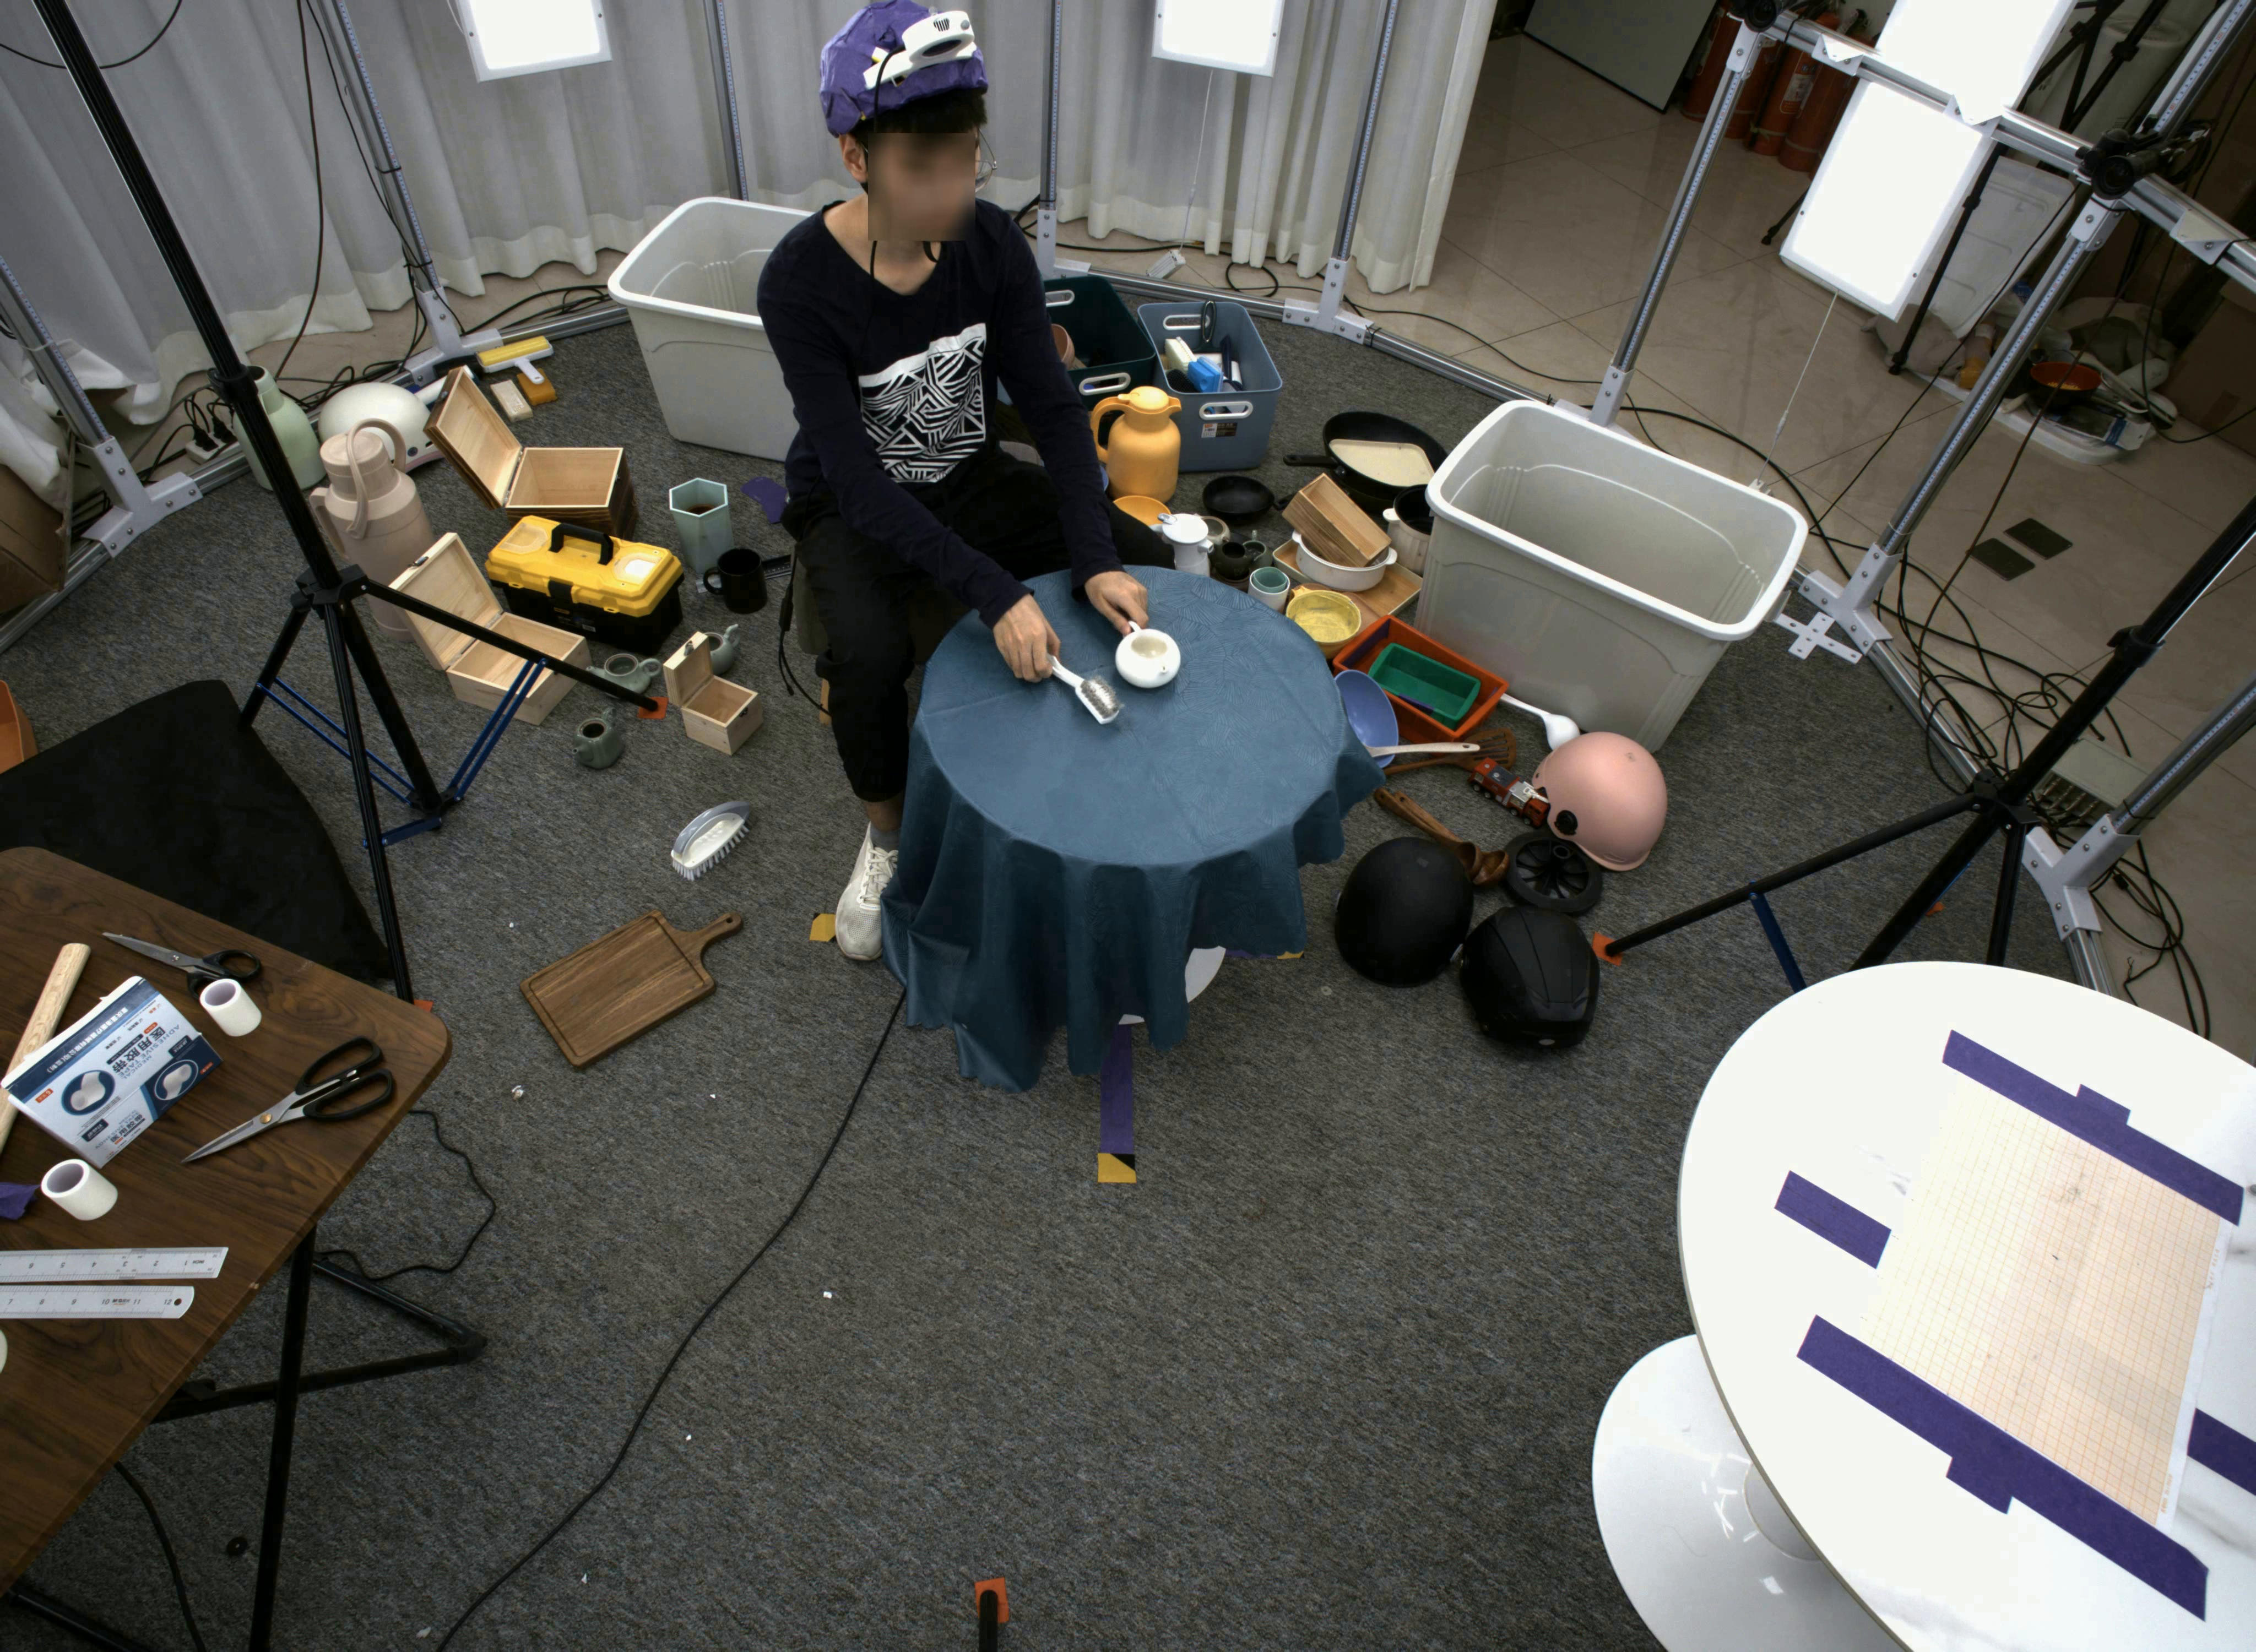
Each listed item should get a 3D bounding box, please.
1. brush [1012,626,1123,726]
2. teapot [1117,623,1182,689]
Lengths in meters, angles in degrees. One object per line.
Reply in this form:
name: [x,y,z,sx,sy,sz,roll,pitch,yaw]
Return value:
brush: [-0.092,-0.228,1.830,0.034,0.049,0.248,-32,58,-20]
teapot: [0.025,-0.246,1.850,0.094,0.055,0.130,-25,53,-17]
